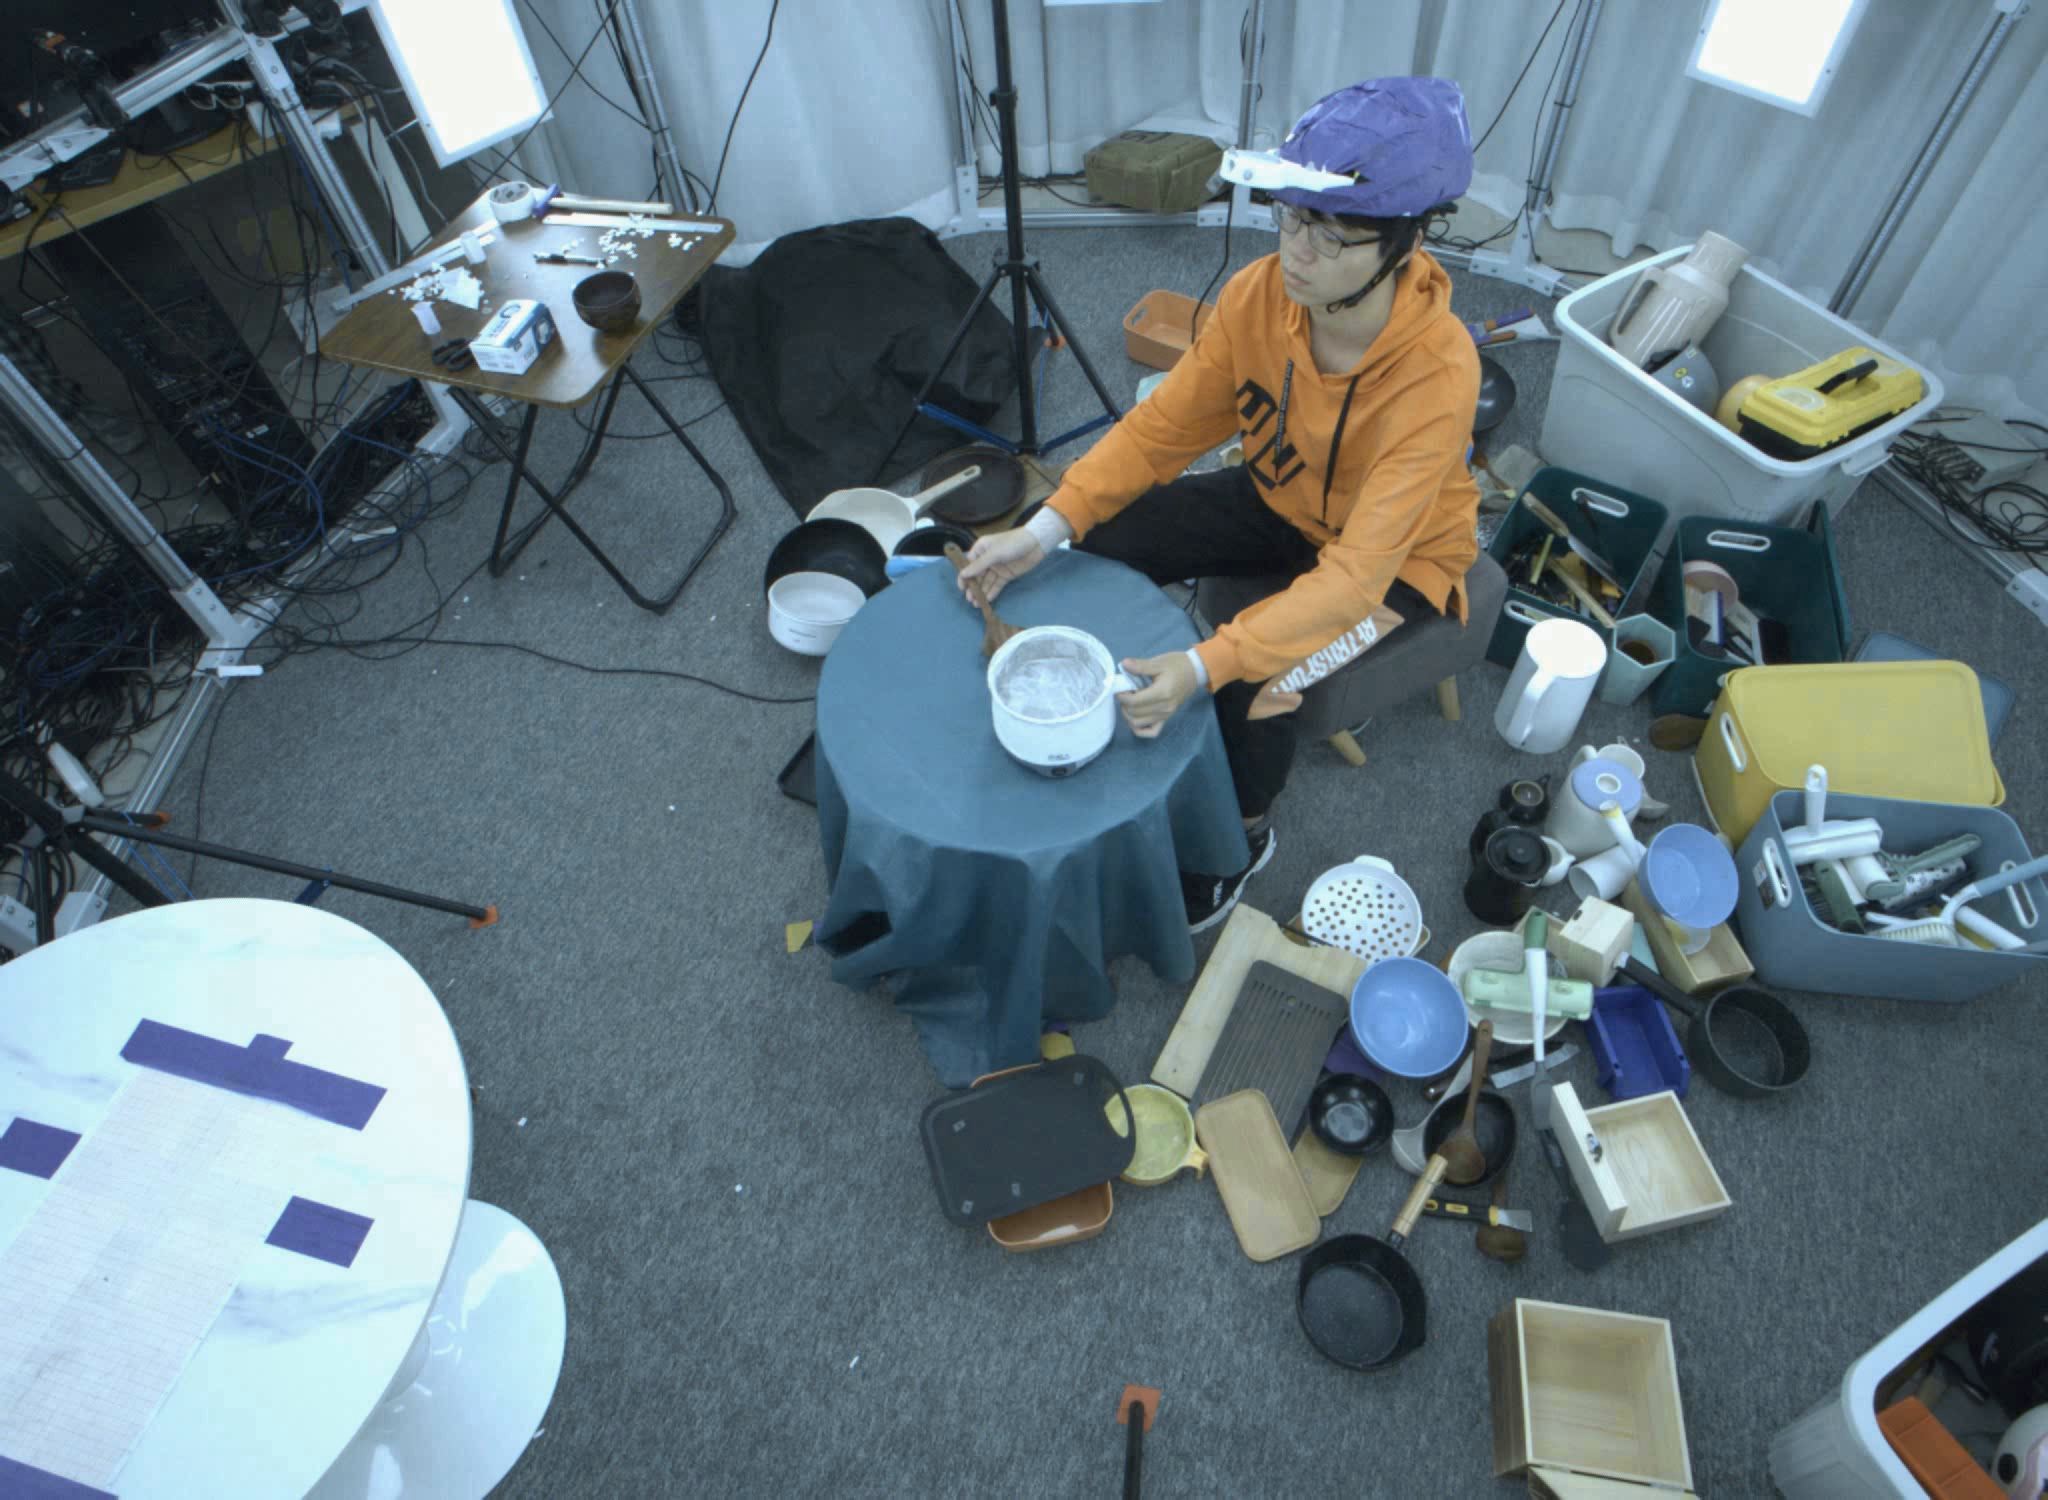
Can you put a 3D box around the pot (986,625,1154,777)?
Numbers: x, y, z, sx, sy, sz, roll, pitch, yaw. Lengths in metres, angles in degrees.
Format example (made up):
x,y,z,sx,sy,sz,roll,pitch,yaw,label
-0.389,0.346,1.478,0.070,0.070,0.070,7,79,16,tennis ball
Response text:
x,y,z,sx,sy,sz,roll,pitch,yaw,label
0.068,-0.072,1.750,0.234,0.138,0.176,-6,55,-1,pot

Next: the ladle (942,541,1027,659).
x,y,z,sx,sy,sz,roll,pitch,yaw,label
-0.072,-0.244,1.910,0.077,0.065,0.256,-21,66,-13,ladle
